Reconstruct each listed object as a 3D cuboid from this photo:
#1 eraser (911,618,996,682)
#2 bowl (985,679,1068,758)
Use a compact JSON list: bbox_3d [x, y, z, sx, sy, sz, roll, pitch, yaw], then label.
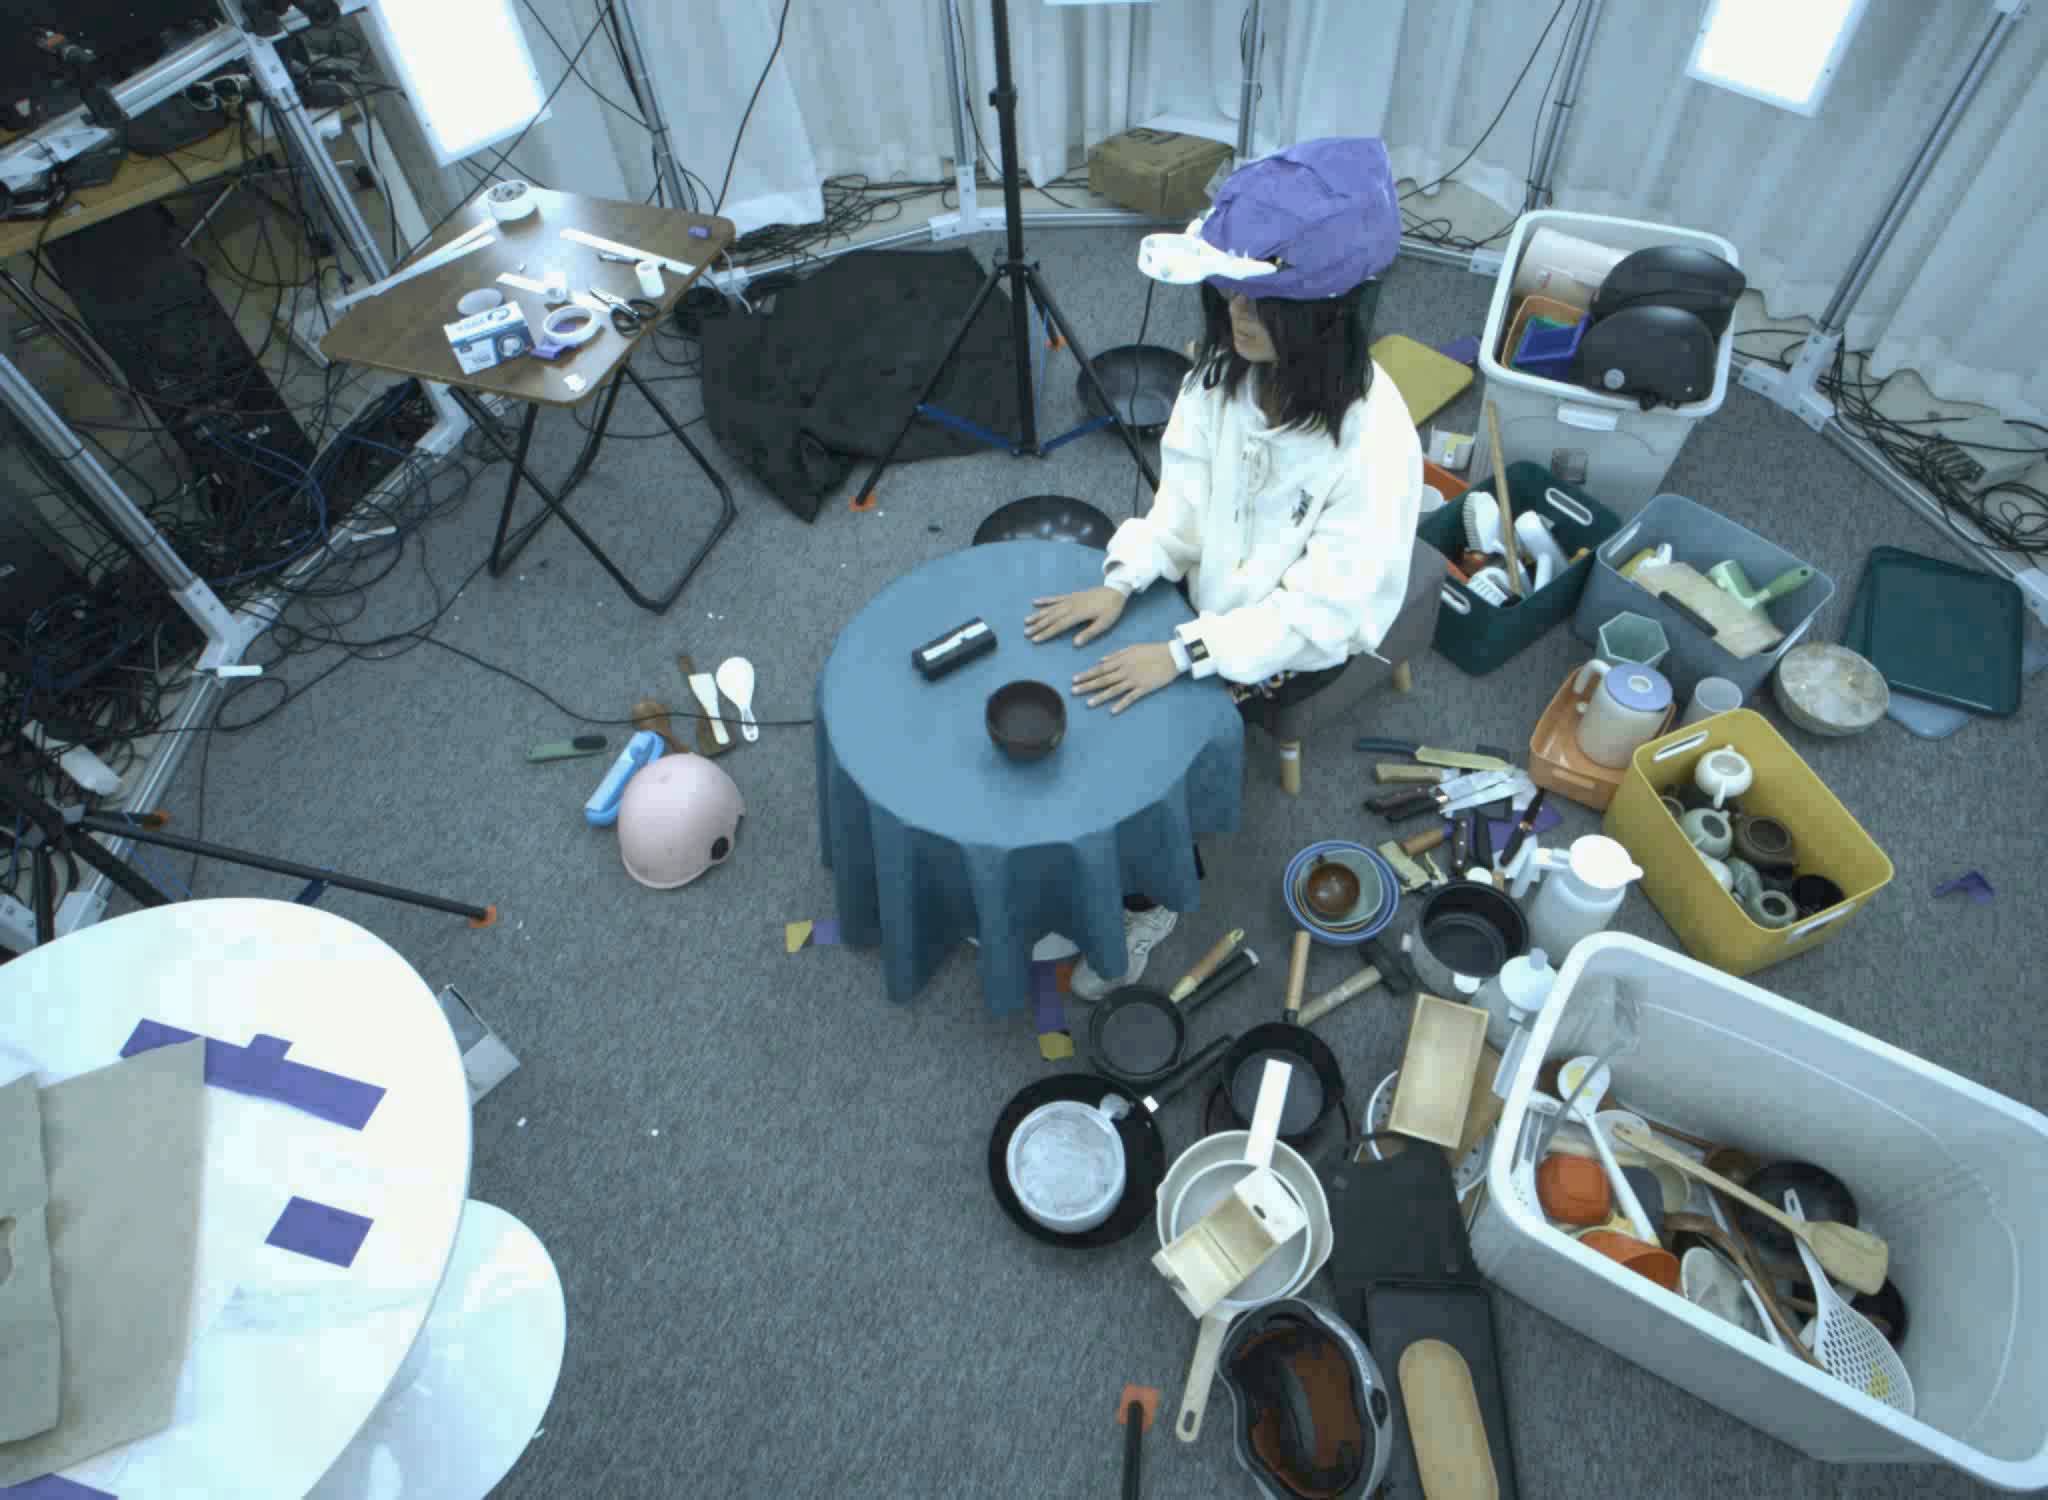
[{"bbox_3d":[-0.108,-0.155,1.884,0.126,0.031,0.052,-30,60,-20],"label":"eraser"},{"bbox_3d":[0.004,-0.037,1.770,0.118,0.070,0.117,0,54,2],"label":"bowl"}]
